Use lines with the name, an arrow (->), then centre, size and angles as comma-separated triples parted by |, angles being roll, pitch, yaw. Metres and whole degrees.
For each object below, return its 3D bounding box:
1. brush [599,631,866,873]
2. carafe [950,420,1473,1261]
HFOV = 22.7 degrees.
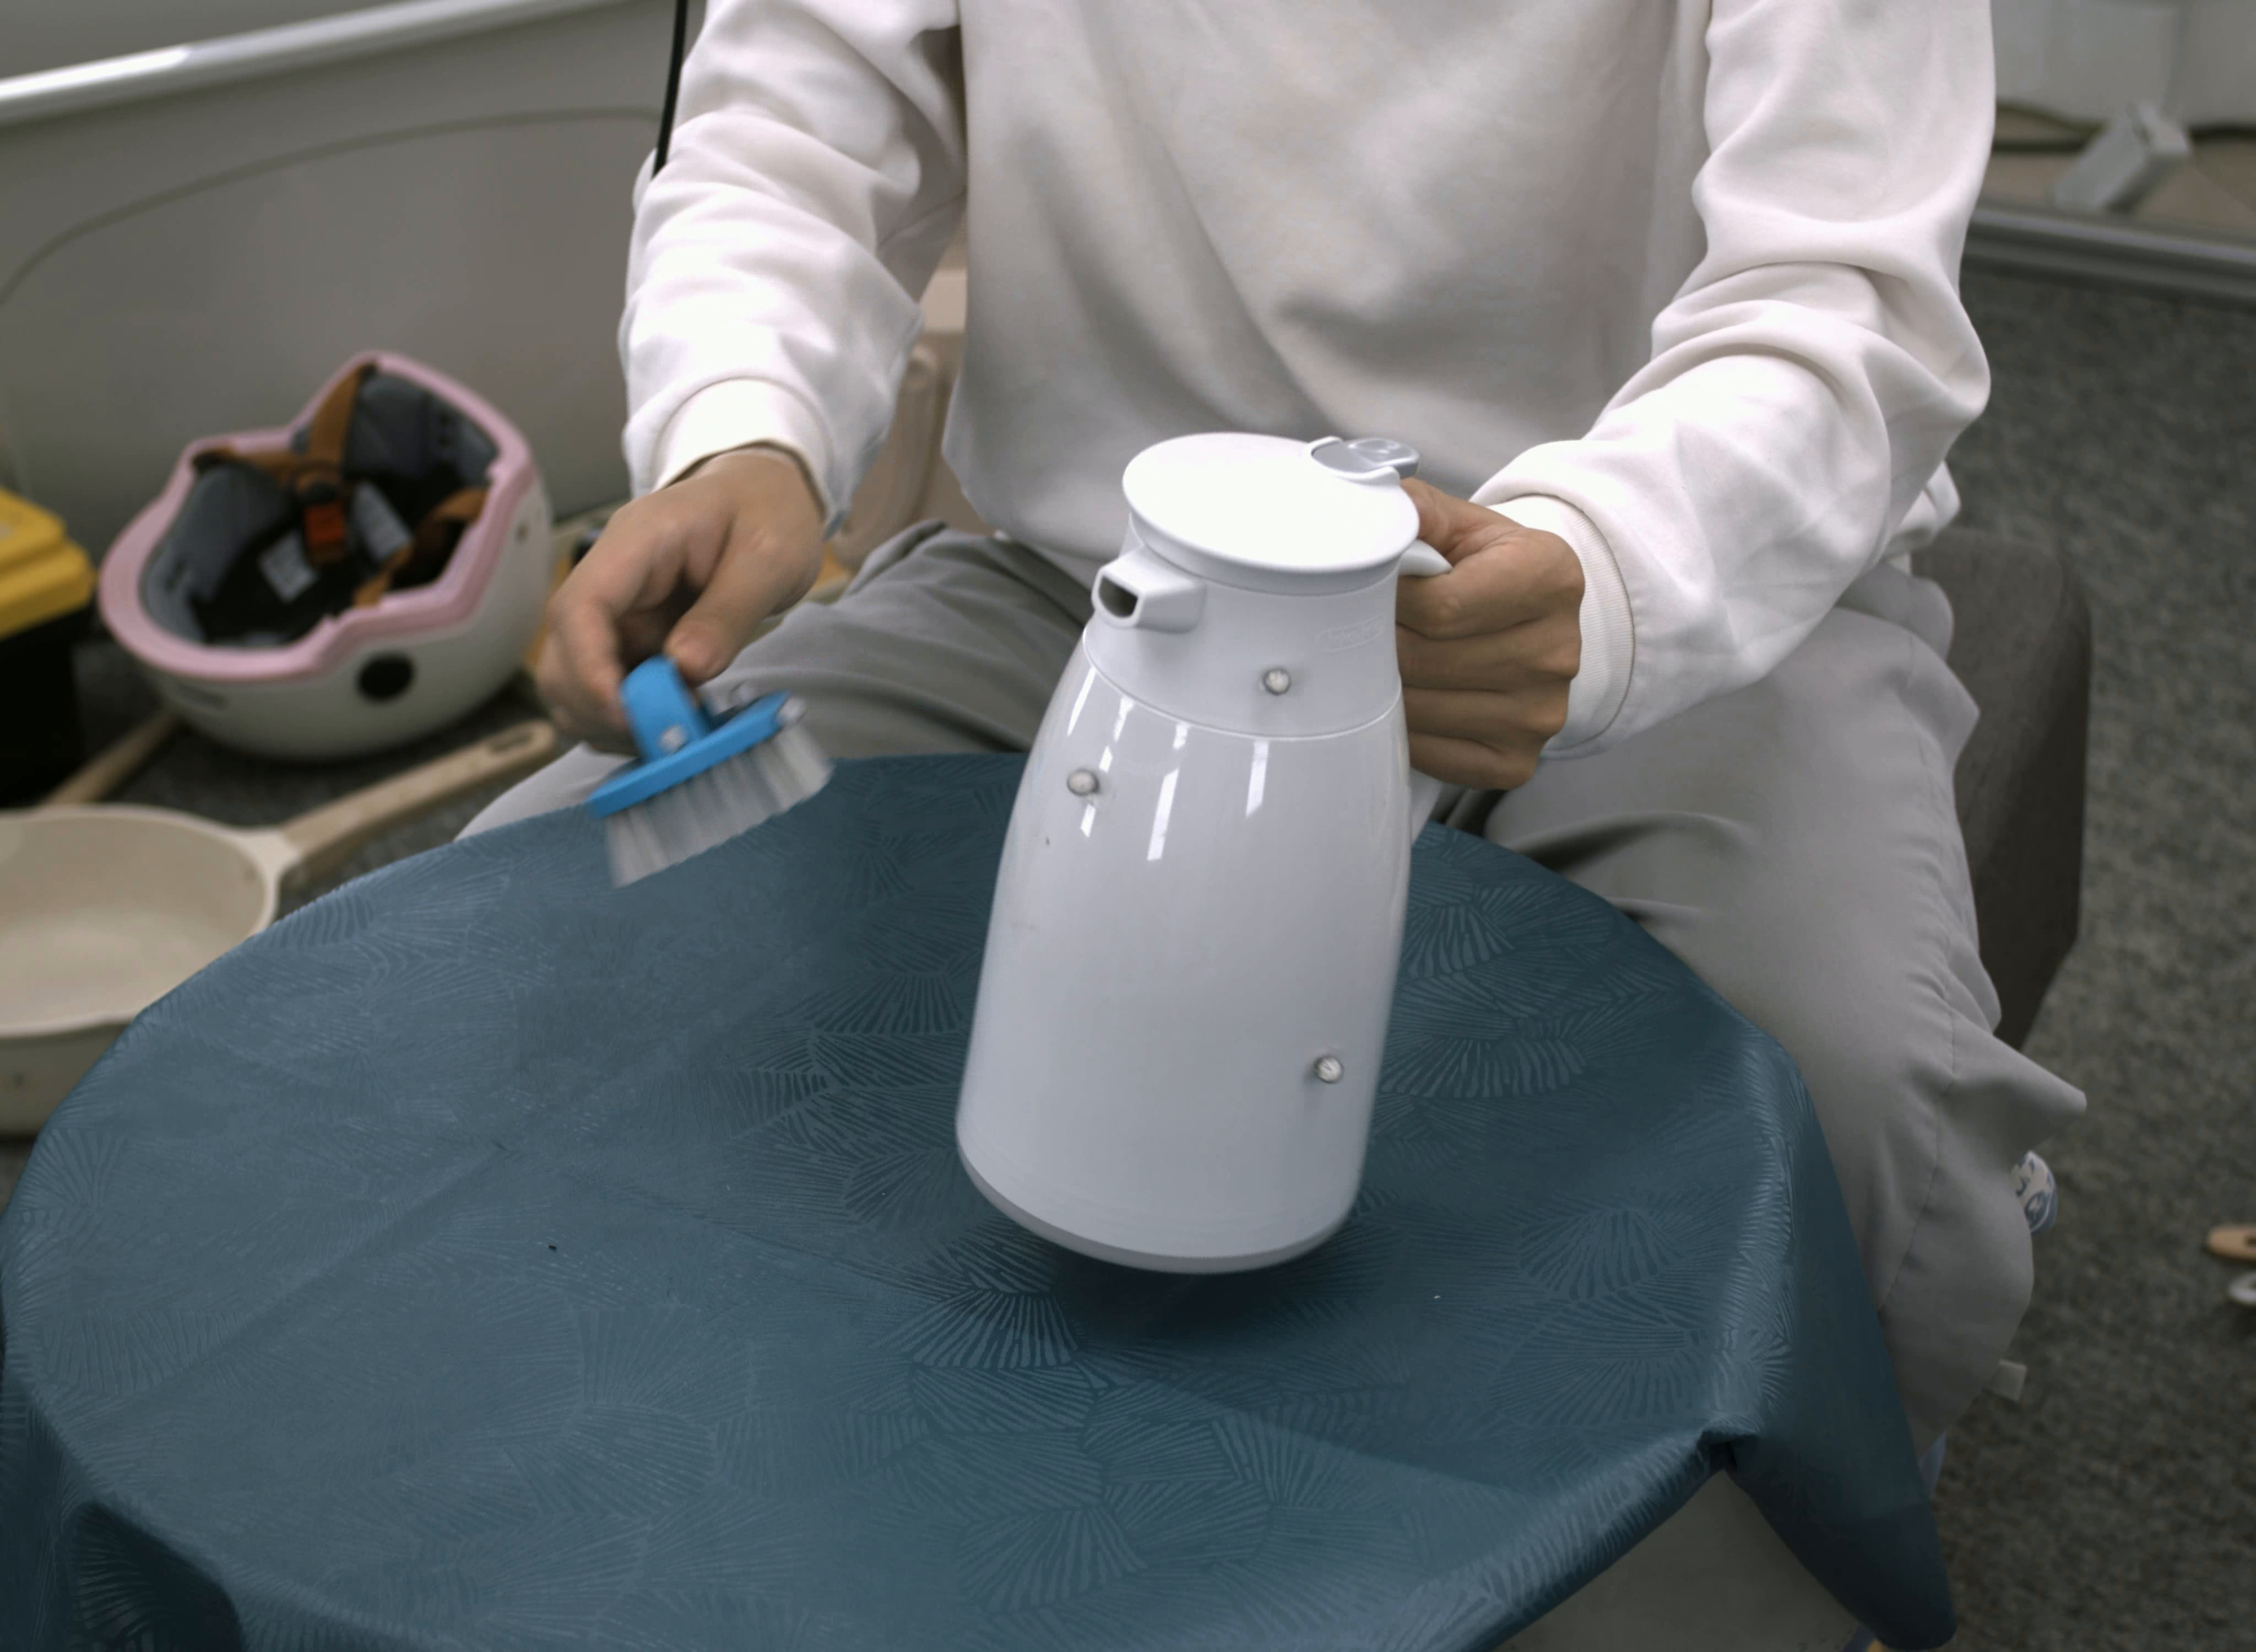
brush -> -0.141, -0.034, 1.911 | 0.084, 0.064, 0.142 | -32, 3, 4
carafe -> 0.039, -0.007, 1.778 | 0.133, 0.245, 0.169 | 31, 33, 35
